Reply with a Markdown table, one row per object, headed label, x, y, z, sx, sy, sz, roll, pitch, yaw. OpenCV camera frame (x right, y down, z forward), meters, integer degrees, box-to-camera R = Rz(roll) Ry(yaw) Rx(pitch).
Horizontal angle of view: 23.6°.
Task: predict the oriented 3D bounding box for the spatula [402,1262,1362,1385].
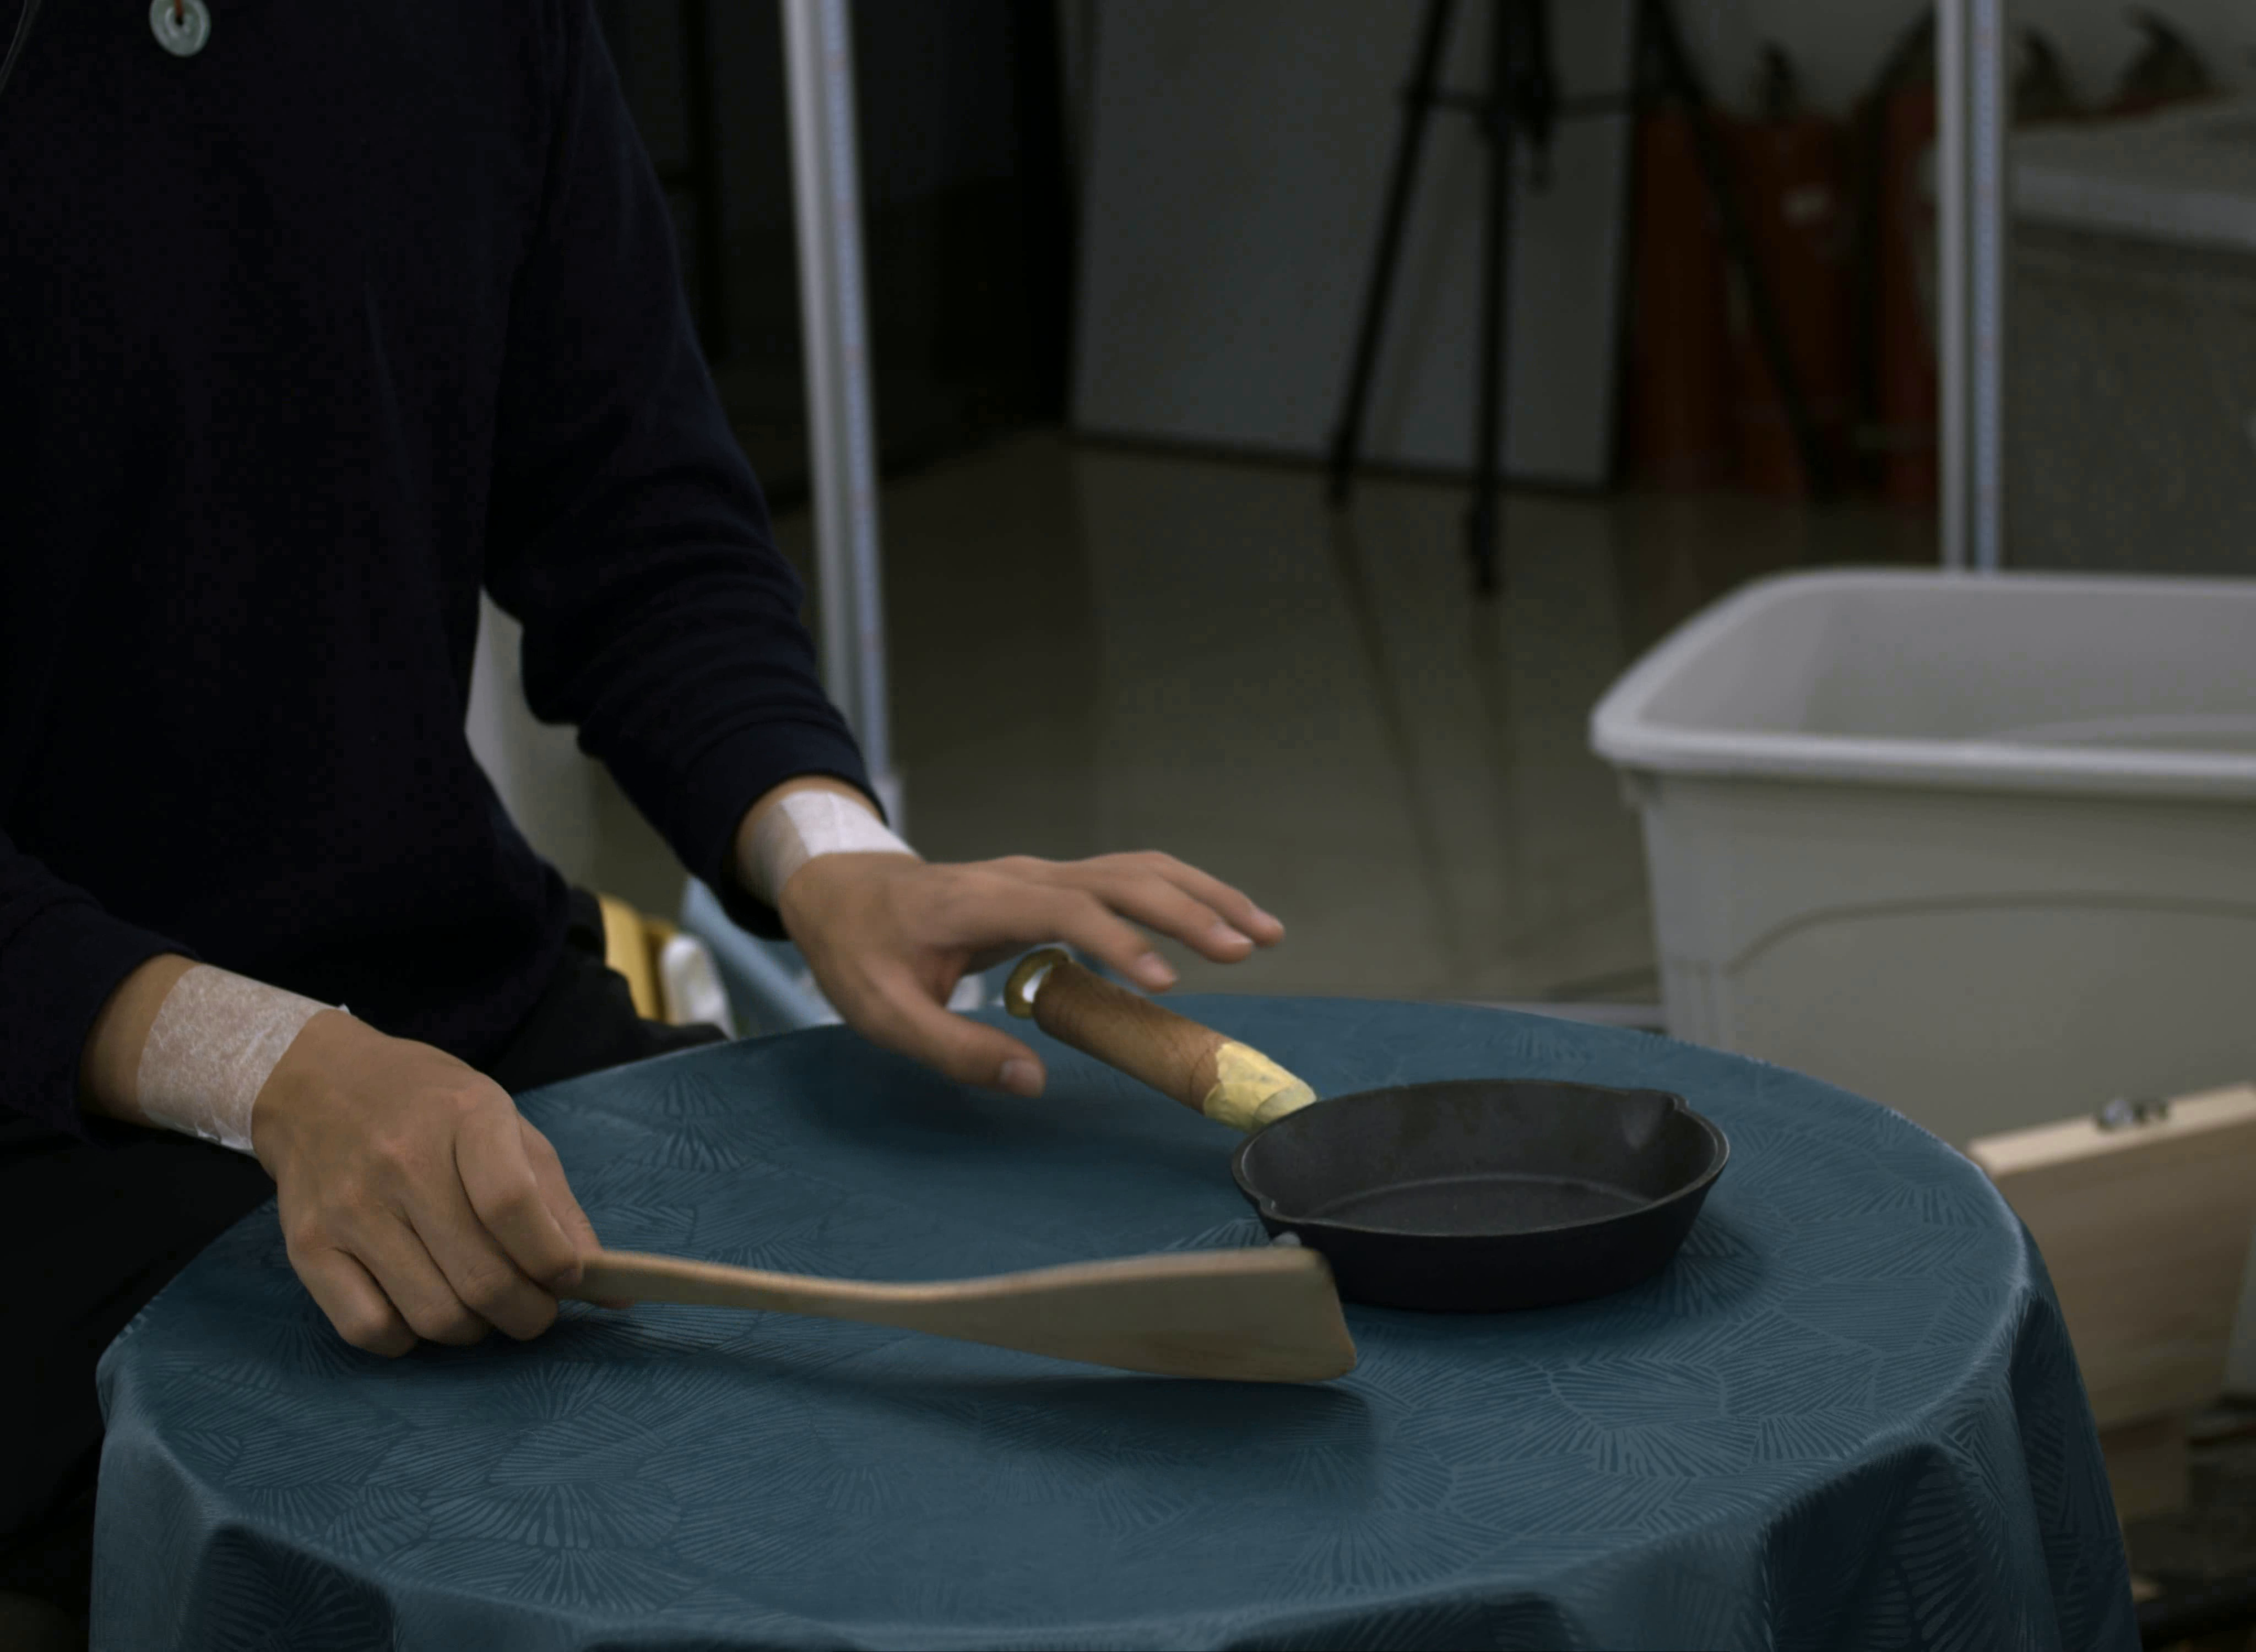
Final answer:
| label | x | y | z | sx | sy | sz | roll | pitch | yaw |
| --- | --- | --- | --- | --- | --- | --- | --- | --- | --- |
| spatula | -0.079 | 0.144 | 1.615 | 0.328 | 0.016 | 0.079 | 2 | -24 | 28 |

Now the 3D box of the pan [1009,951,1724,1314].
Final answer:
| label | x | y | z | sx | sy | sz | roll | pitch | yaw |
| --- | --- | --- | --- | --- | --- | --- | --- | --- | --- |
| pan | 0.061 | 0.095 | 1.753 | 0.165 | 0.050 | 0.327 | -13 | 18 | -33 |
